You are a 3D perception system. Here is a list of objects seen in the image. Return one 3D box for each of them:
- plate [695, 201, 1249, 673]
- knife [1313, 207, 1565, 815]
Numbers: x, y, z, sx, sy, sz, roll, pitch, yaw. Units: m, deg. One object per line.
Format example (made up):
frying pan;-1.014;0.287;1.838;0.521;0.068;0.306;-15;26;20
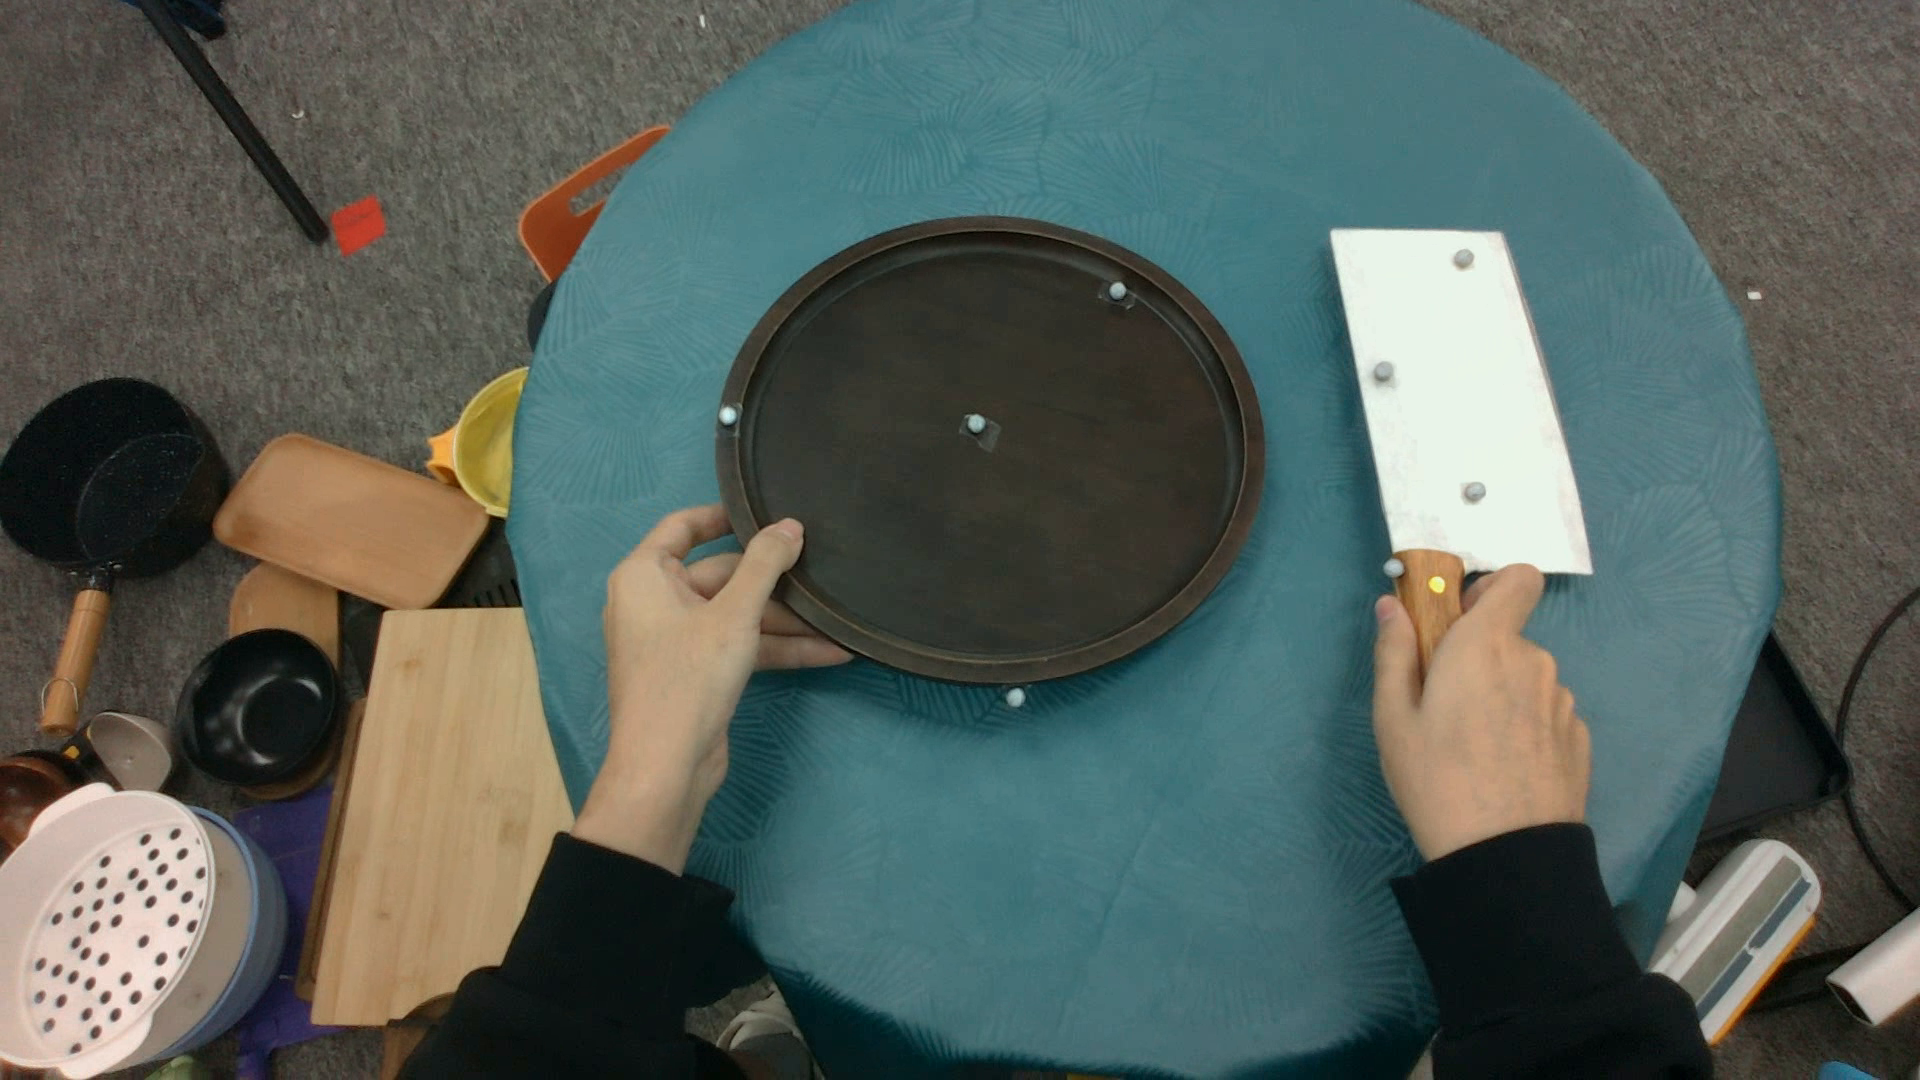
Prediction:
plate;0.006;-0.055;0.635;0.255;0.029;0.256;0;61;1
knife;0.223;-0.028;0.621;0.093;0.021;0.307;2;64;-9
